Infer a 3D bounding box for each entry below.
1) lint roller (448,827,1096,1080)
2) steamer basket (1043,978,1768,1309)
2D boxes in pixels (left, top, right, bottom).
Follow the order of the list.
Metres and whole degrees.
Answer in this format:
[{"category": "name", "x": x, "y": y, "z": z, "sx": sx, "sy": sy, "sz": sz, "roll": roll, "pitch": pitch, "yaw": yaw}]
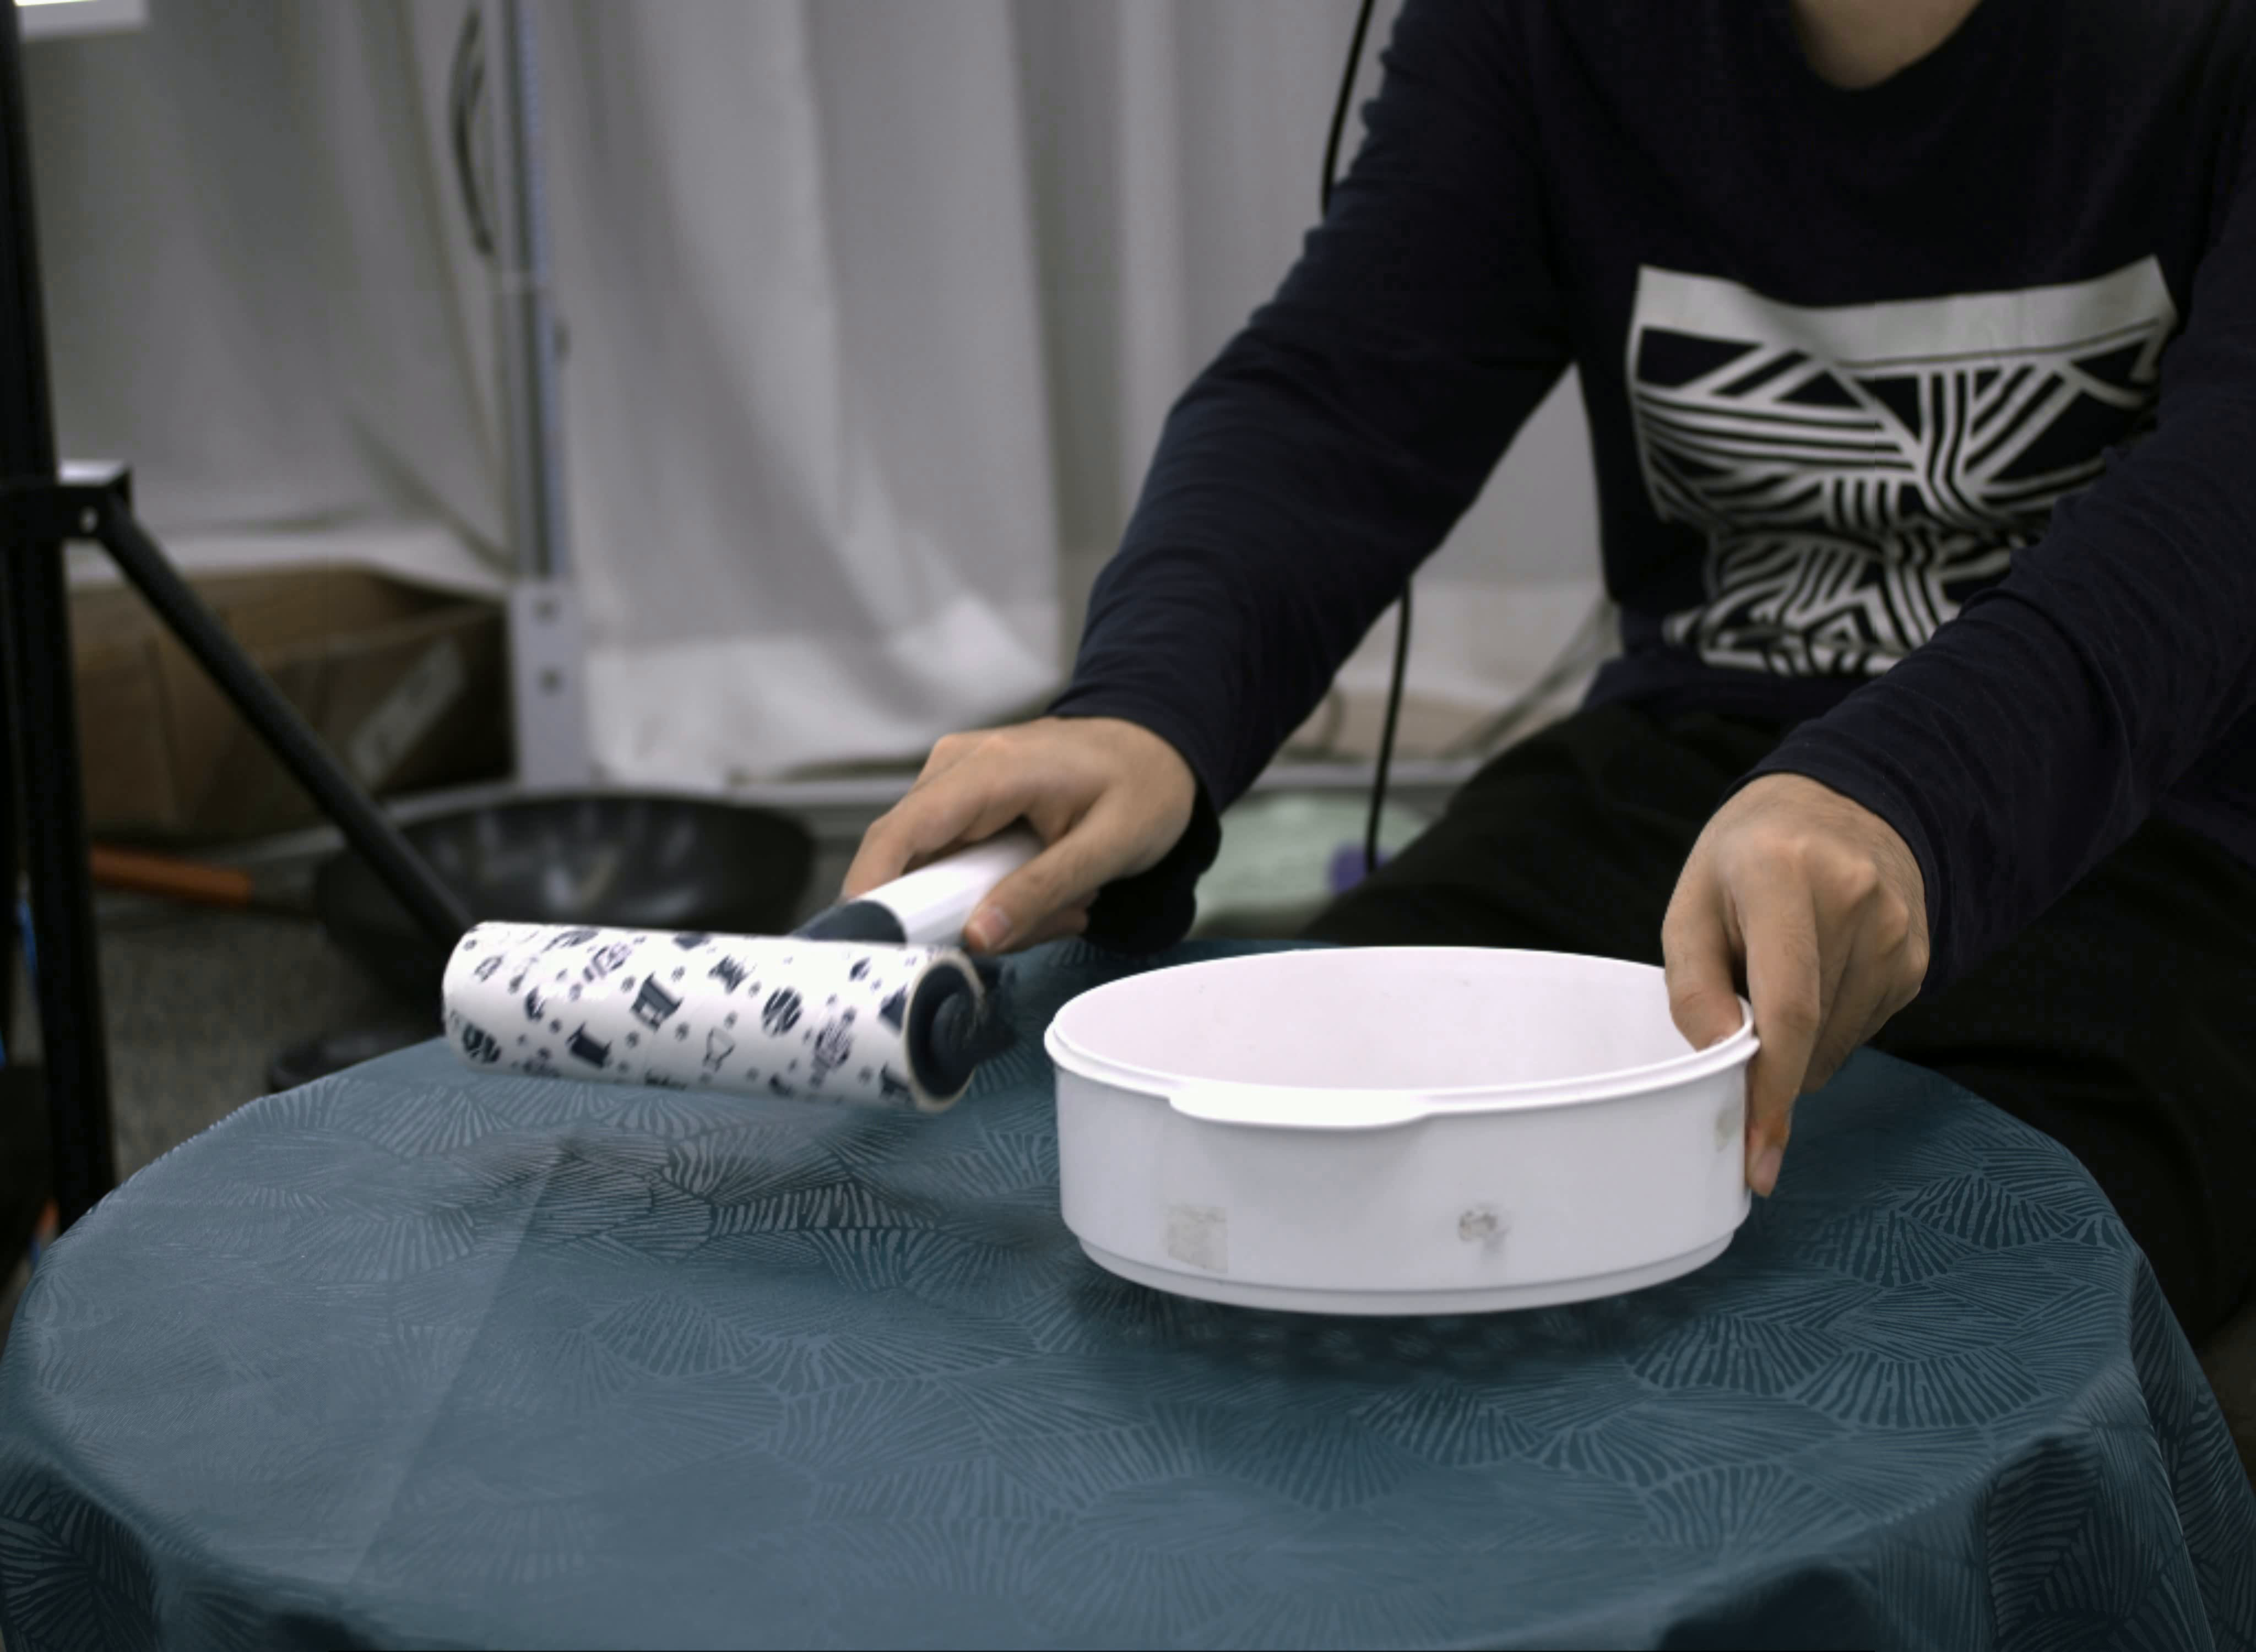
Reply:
[{"category": "lint roller", "x": -0.075, "y": 0.028, "z": 1.652, "sx": 0.179, "sy": 0.050, "sz": 0.243, "roll": 0, "pitch": 13, "yaw": 28}, {"category": "steamer basket", "x": 0.077, "y": 0.089, "z": 1.478, "sx": 0.204, "sy": 0.069, "sz": 0.227, "roll": 2, "pitch": 6, "yaw": 22}]
